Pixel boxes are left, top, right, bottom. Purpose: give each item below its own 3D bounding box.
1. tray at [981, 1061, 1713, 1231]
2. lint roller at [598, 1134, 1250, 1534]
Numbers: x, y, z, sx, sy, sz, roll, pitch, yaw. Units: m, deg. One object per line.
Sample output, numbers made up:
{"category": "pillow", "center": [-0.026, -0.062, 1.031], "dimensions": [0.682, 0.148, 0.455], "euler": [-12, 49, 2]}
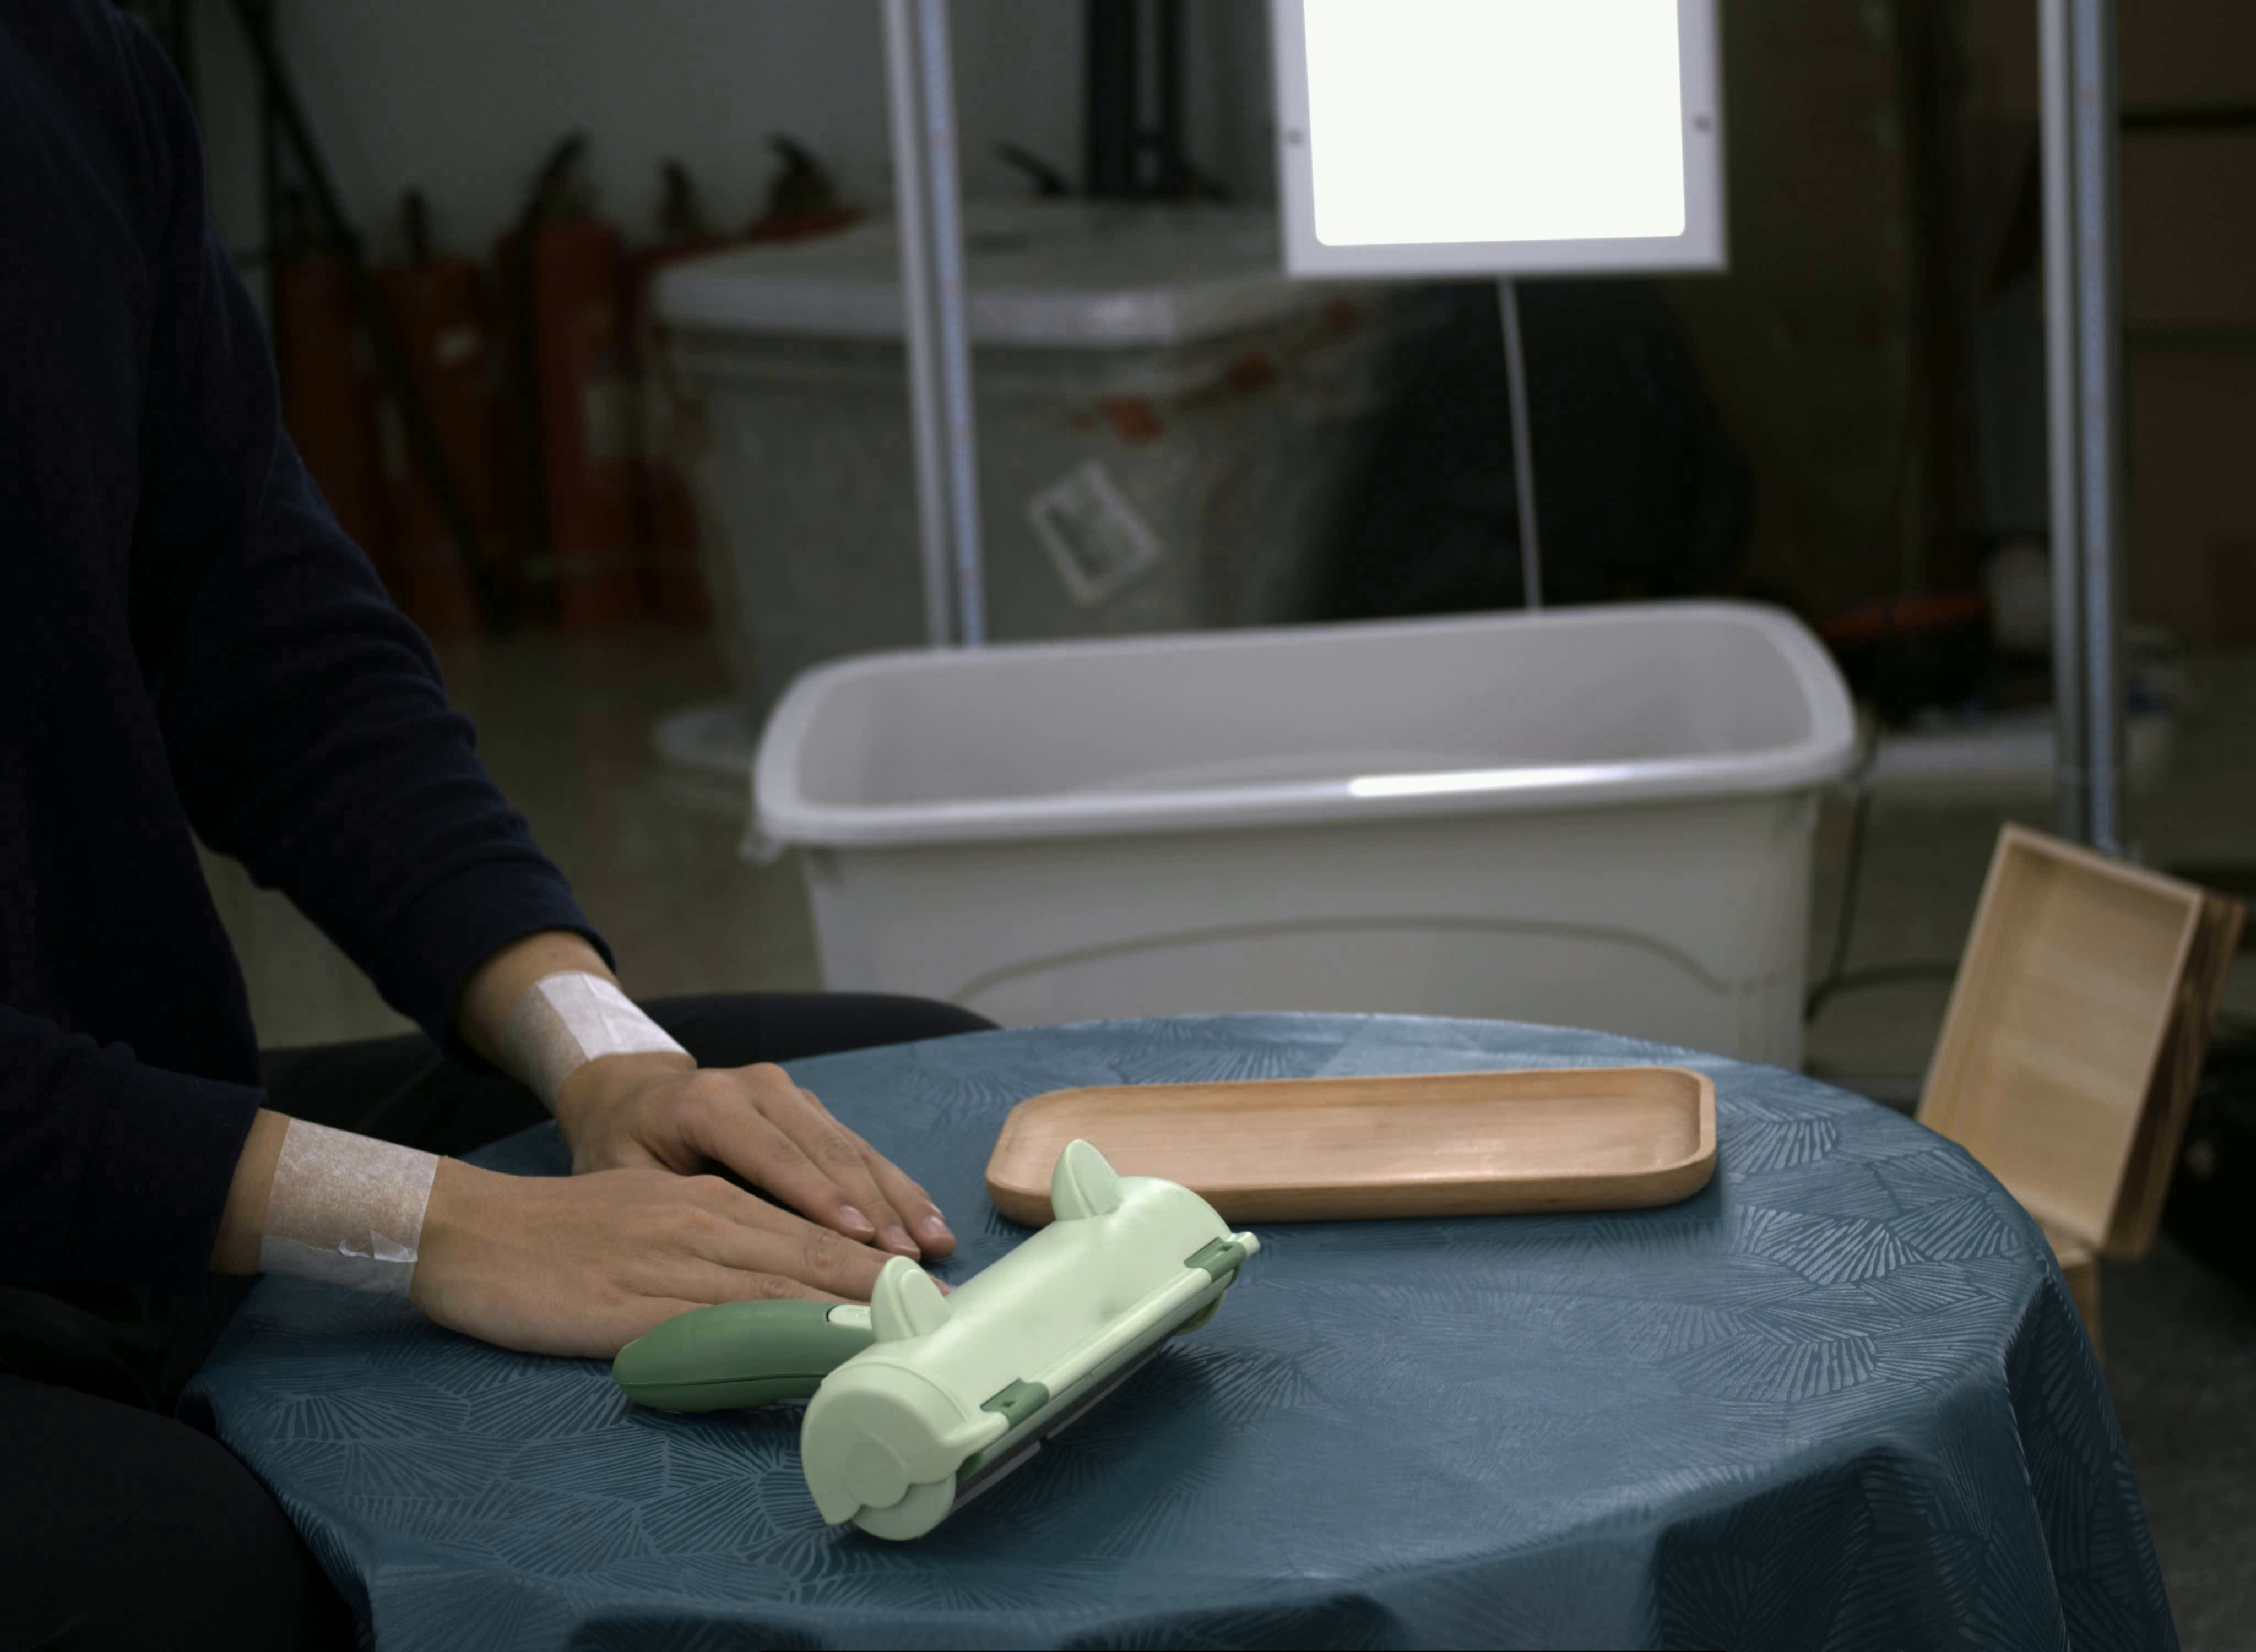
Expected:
{"category": "tray", "center": [0.077, 0.111, 1.899], "dimensions": [0.252, 0.023, 0.129], "euler": [-4, 12, 9]}
{"category": "lint roller", "center": [-0.082, 0.142, 1.680], "dimensions": [0.186, 0.082, 0.194], "euler": [8, 17, 26]}
